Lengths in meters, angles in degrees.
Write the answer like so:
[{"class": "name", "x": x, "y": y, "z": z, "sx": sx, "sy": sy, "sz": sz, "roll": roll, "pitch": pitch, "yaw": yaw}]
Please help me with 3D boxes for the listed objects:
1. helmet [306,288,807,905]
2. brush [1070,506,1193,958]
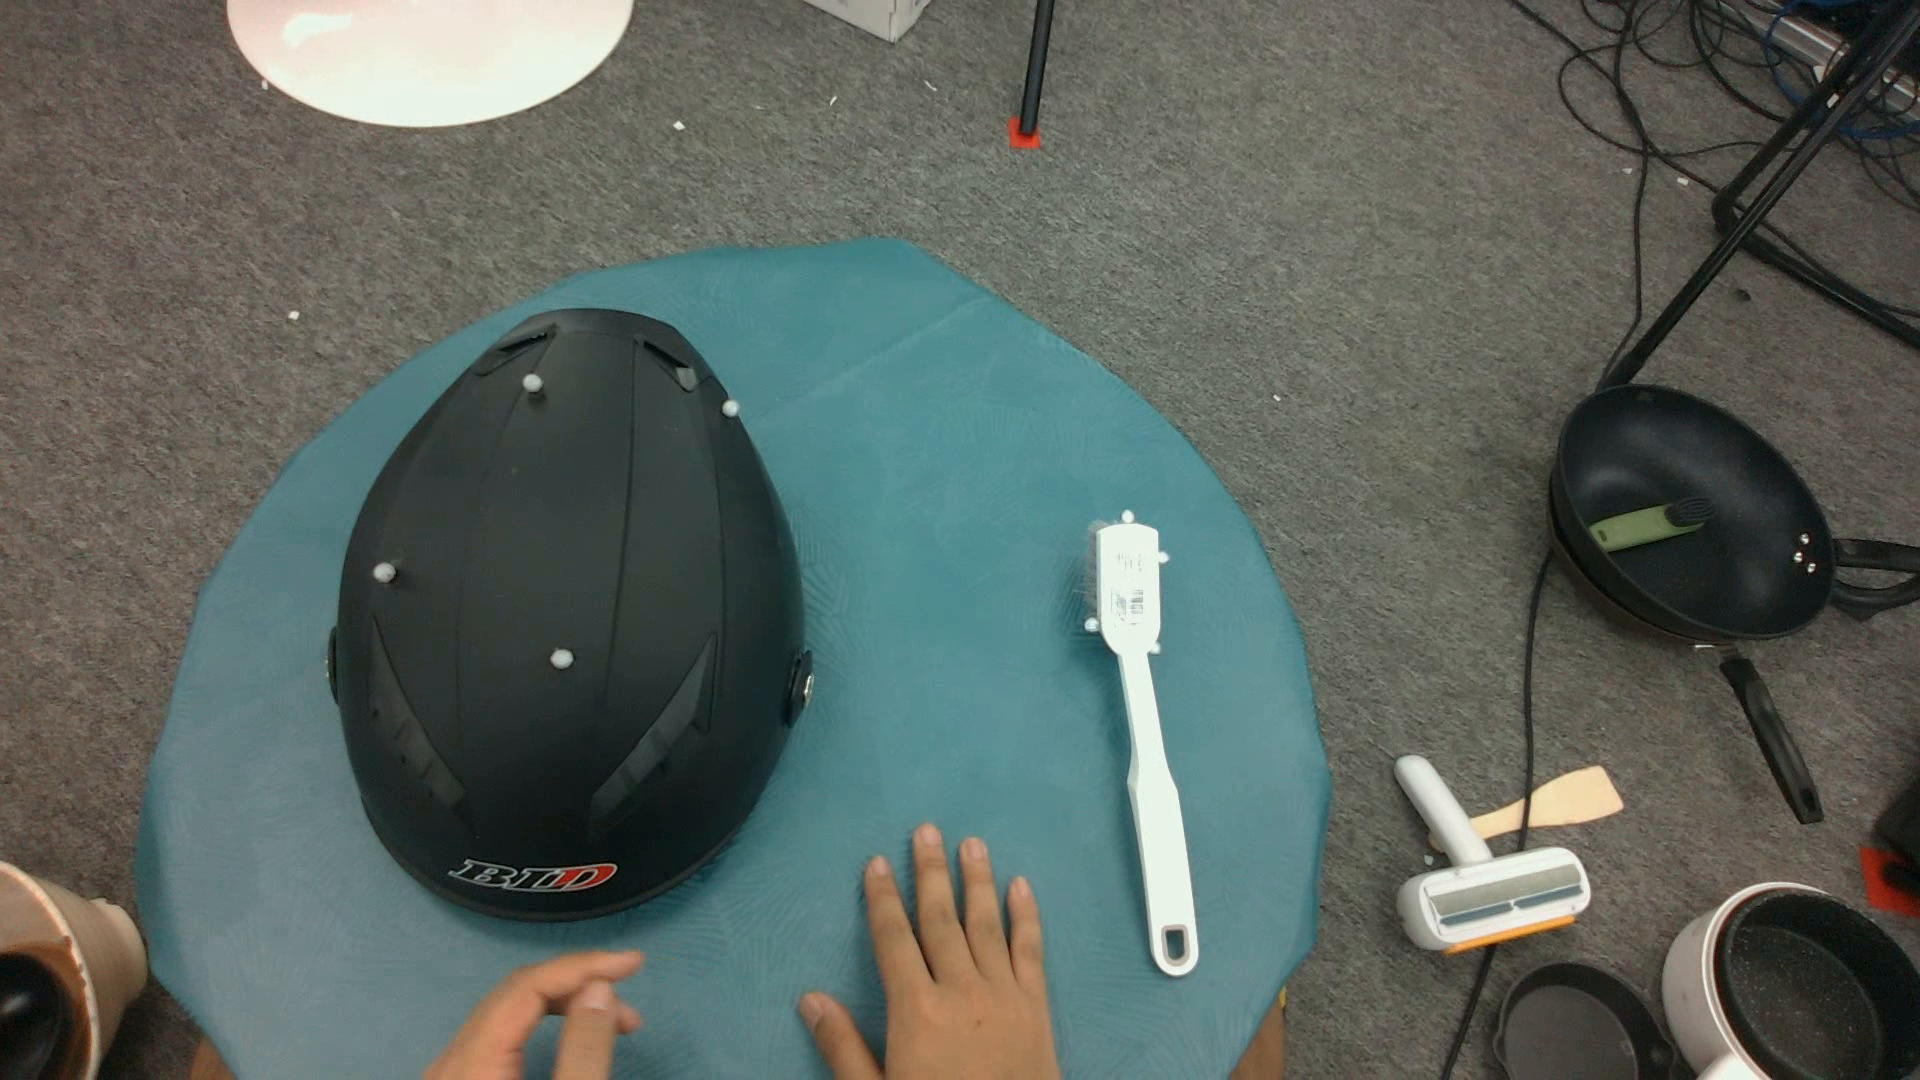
[{"class": "helmet", "x": -0.193, "y": 0.018, "z": 0.656, "sx": 0.247, "sy": 0.171, "sz": 0.278, "roll": 5, "pitch": 56, "yaw": -5}, {"class": "brush", "x": 0.090, "y": 0.095, "z": 0.732, "sx": 0.034, "sy": 0.050, "sz": 0.244, "roll": -3, "pitch": 74, "yaw": -11}]
